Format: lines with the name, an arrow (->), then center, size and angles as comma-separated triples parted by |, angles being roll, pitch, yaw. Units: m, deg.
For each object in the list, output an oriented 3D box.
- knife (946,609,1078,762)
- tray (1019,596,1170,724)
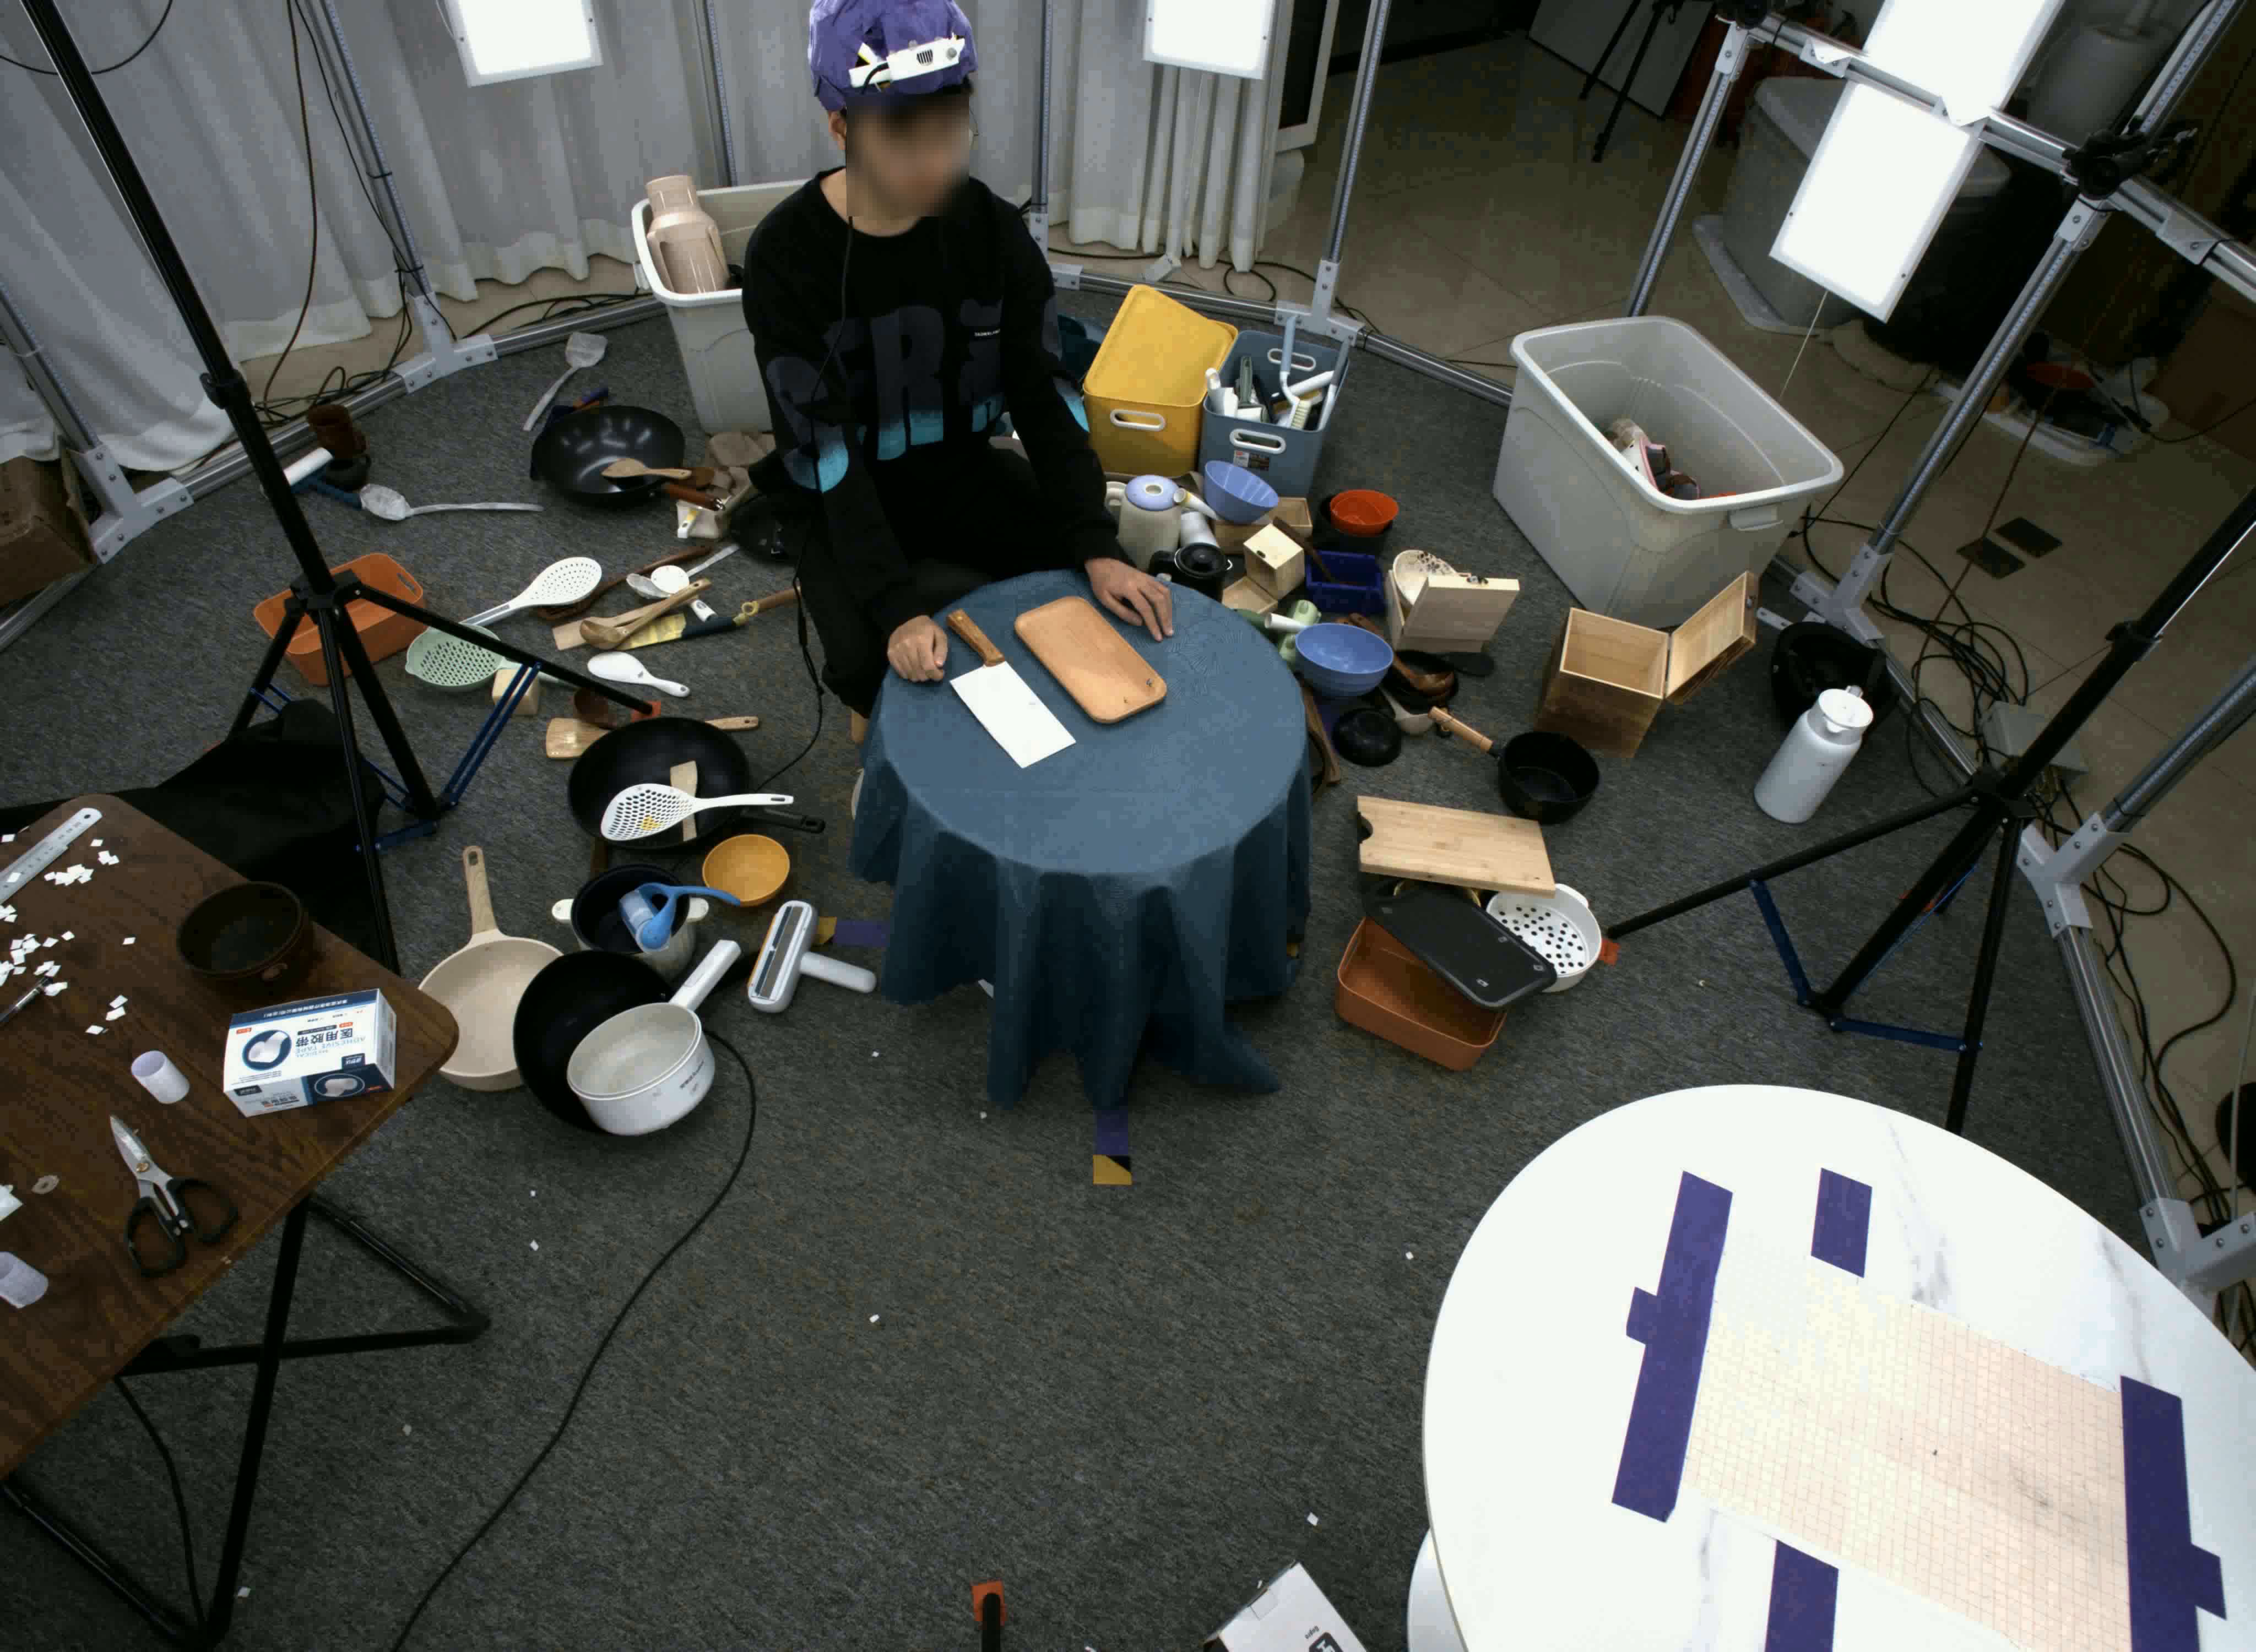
knife -> -0.189, -0.199, 1.819 | 0.093, 0.020, 0.311 | -27, 58, -23
tray -> -0.051, -0.244, 1.867 | 0.131, 0.022, 0.256 | -22, 53, -24
